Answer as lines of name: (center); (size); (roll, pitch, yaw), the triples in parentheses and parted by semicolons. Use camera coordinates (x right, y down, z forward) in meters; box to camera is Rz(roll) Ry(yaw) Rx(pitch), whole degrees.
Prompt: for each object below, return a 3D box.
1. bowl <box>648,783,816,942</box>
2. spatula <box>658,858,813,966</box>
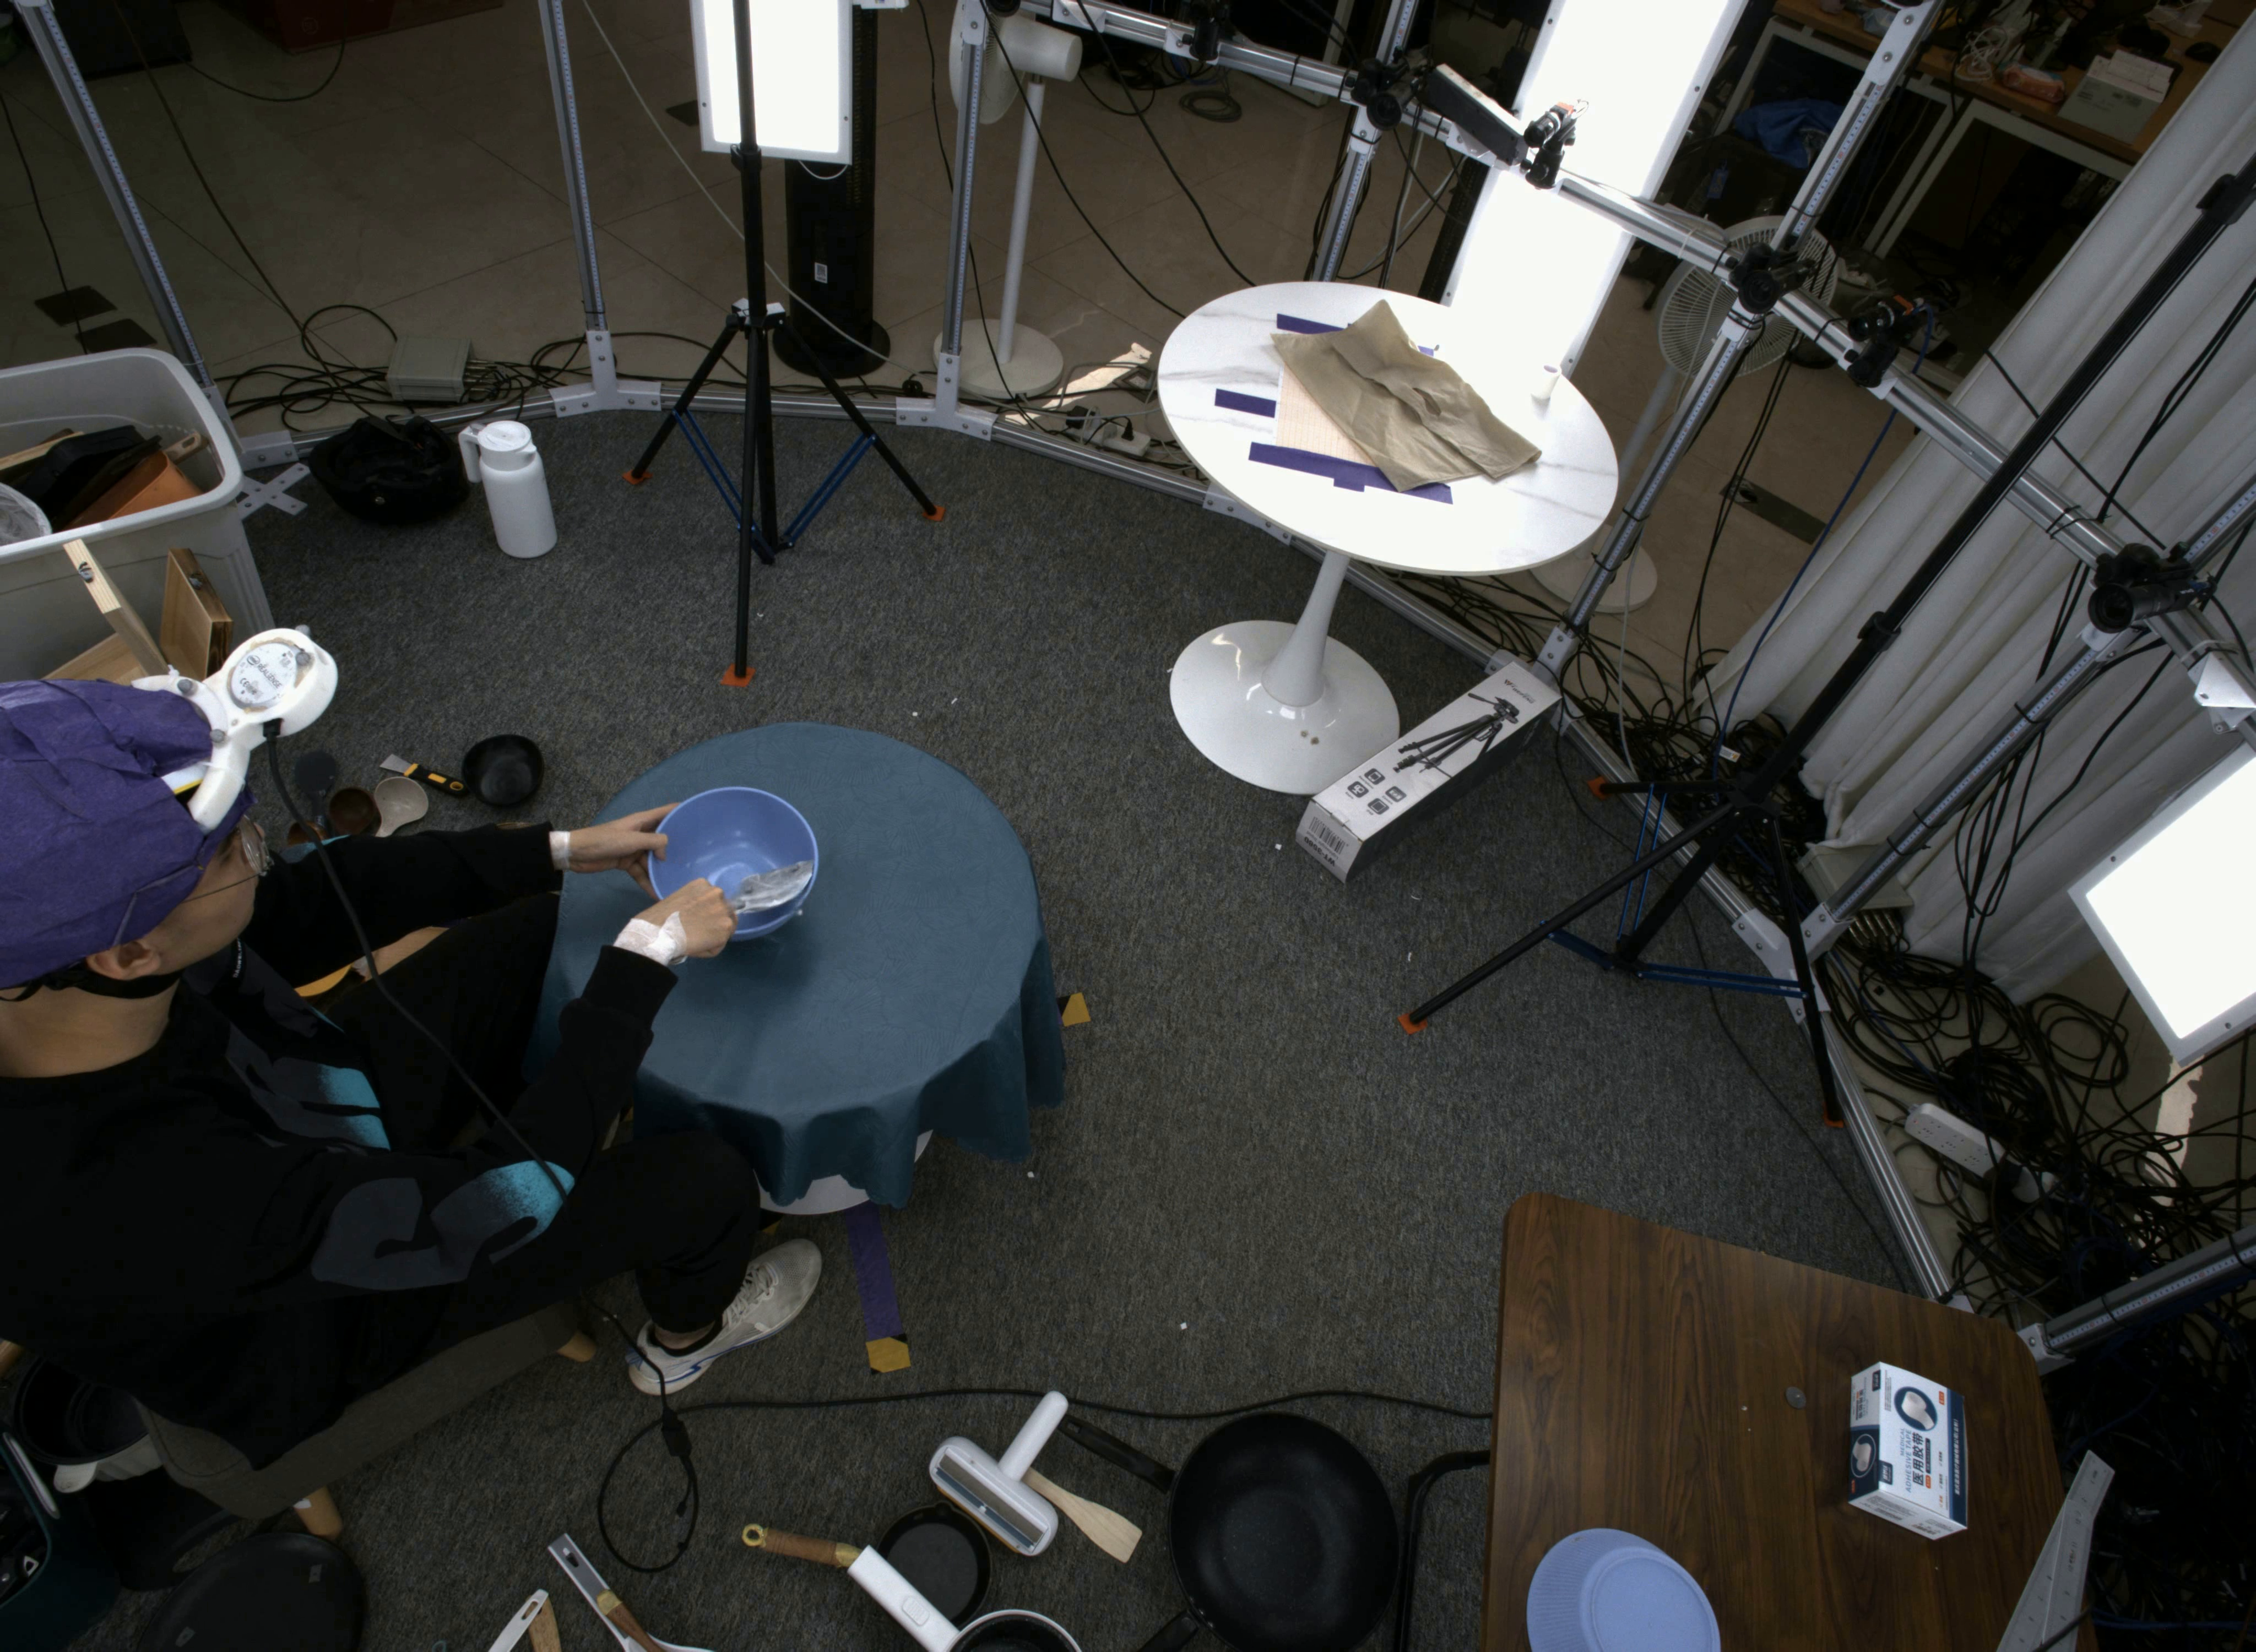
bowl: (-0.479, 0.057, 1.574); (0.197, 0.096, 0.194); (7, 64, -12)
spatula: (-0.435, 0.088, 1.411); (0.097, 0.363, 0.045); (-15, 95, 6)
